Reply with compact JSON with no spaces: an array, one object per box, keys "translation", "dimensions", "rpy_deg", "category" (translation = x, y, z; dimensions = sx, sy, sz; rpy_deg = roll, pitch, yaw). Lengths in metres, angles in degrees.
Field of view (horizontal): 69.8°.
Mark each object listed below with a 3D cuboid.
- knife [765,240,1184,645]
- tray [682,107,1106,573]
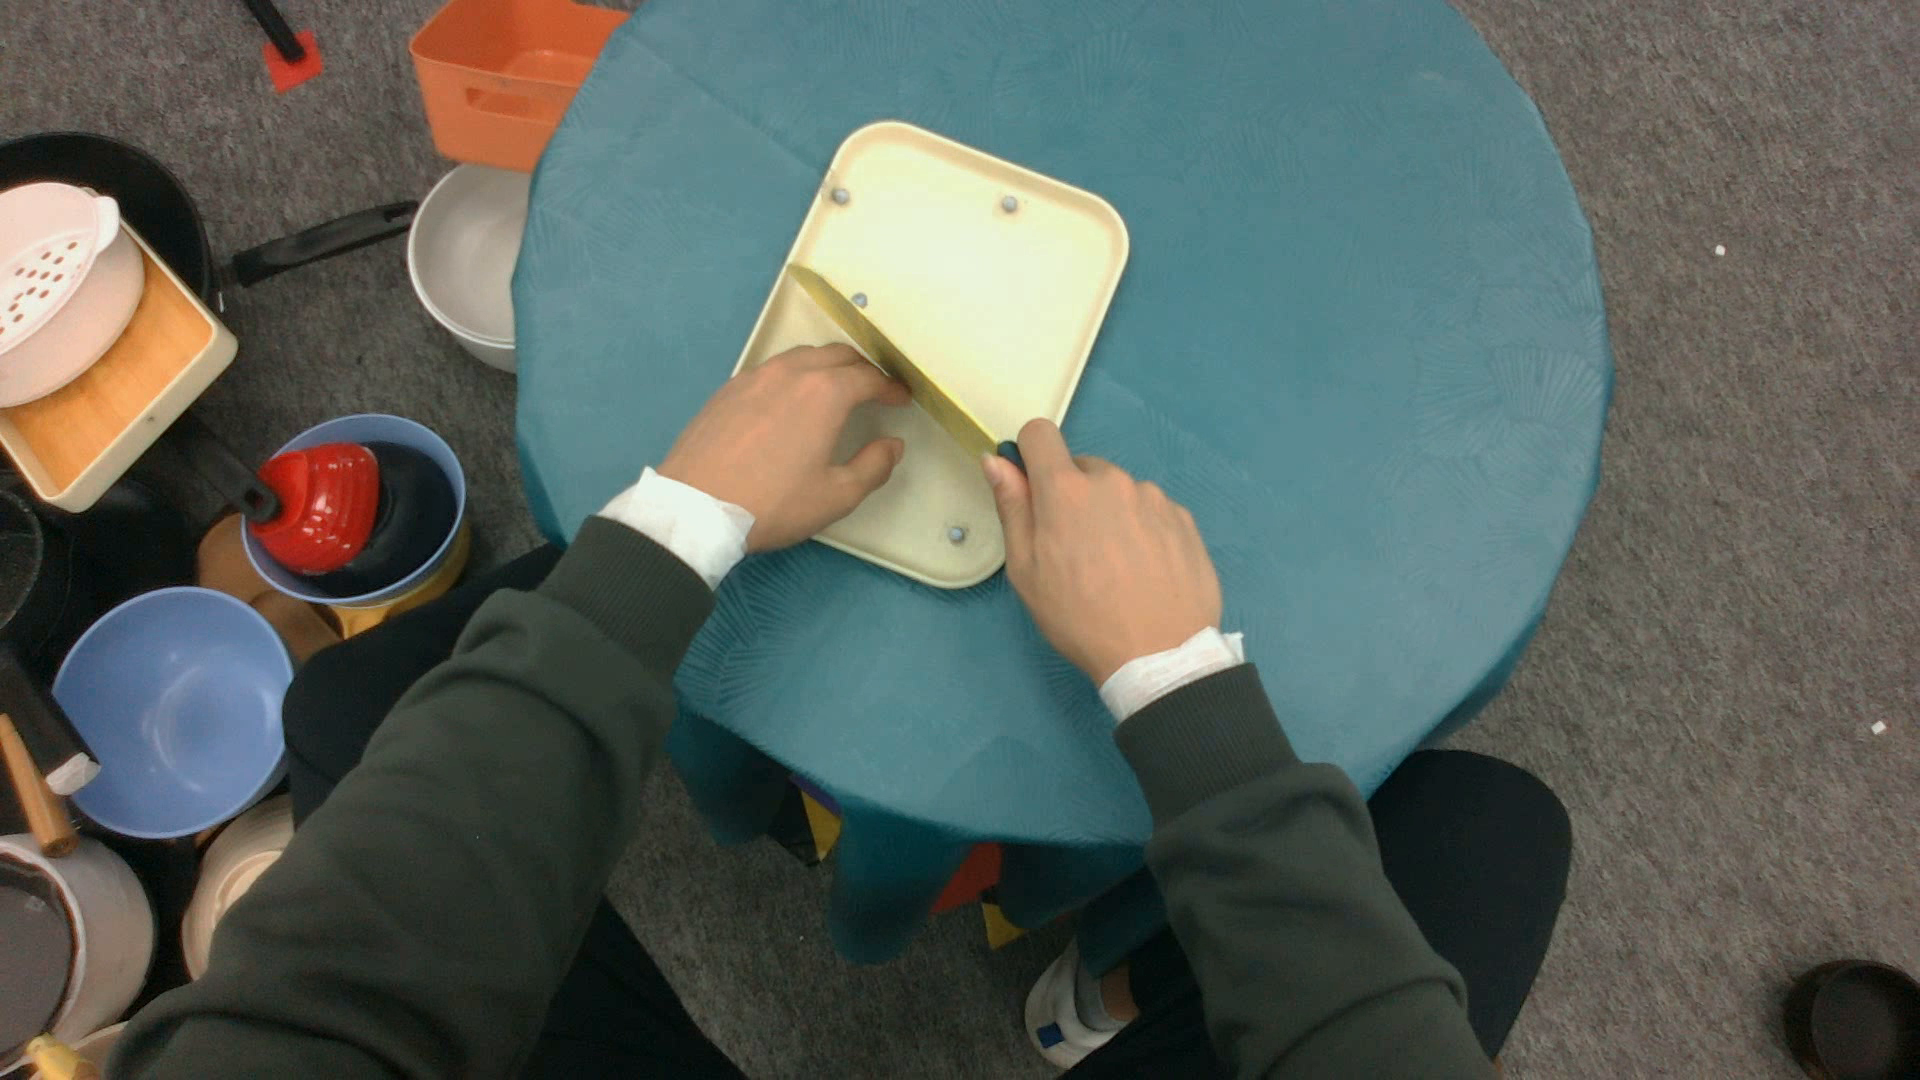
[{"translation":[0.001,-0.053,0.686],"dimensions":[0.027,0.081,0.289],"rpy_deg":[-44,80,-6],"category":"knife"},{"translation":[-0.031,-0.109,0.732],"dimensions":[0.171,0.017,0.240],"rpy_deg":[20,74,1],"category":"tray"}]
